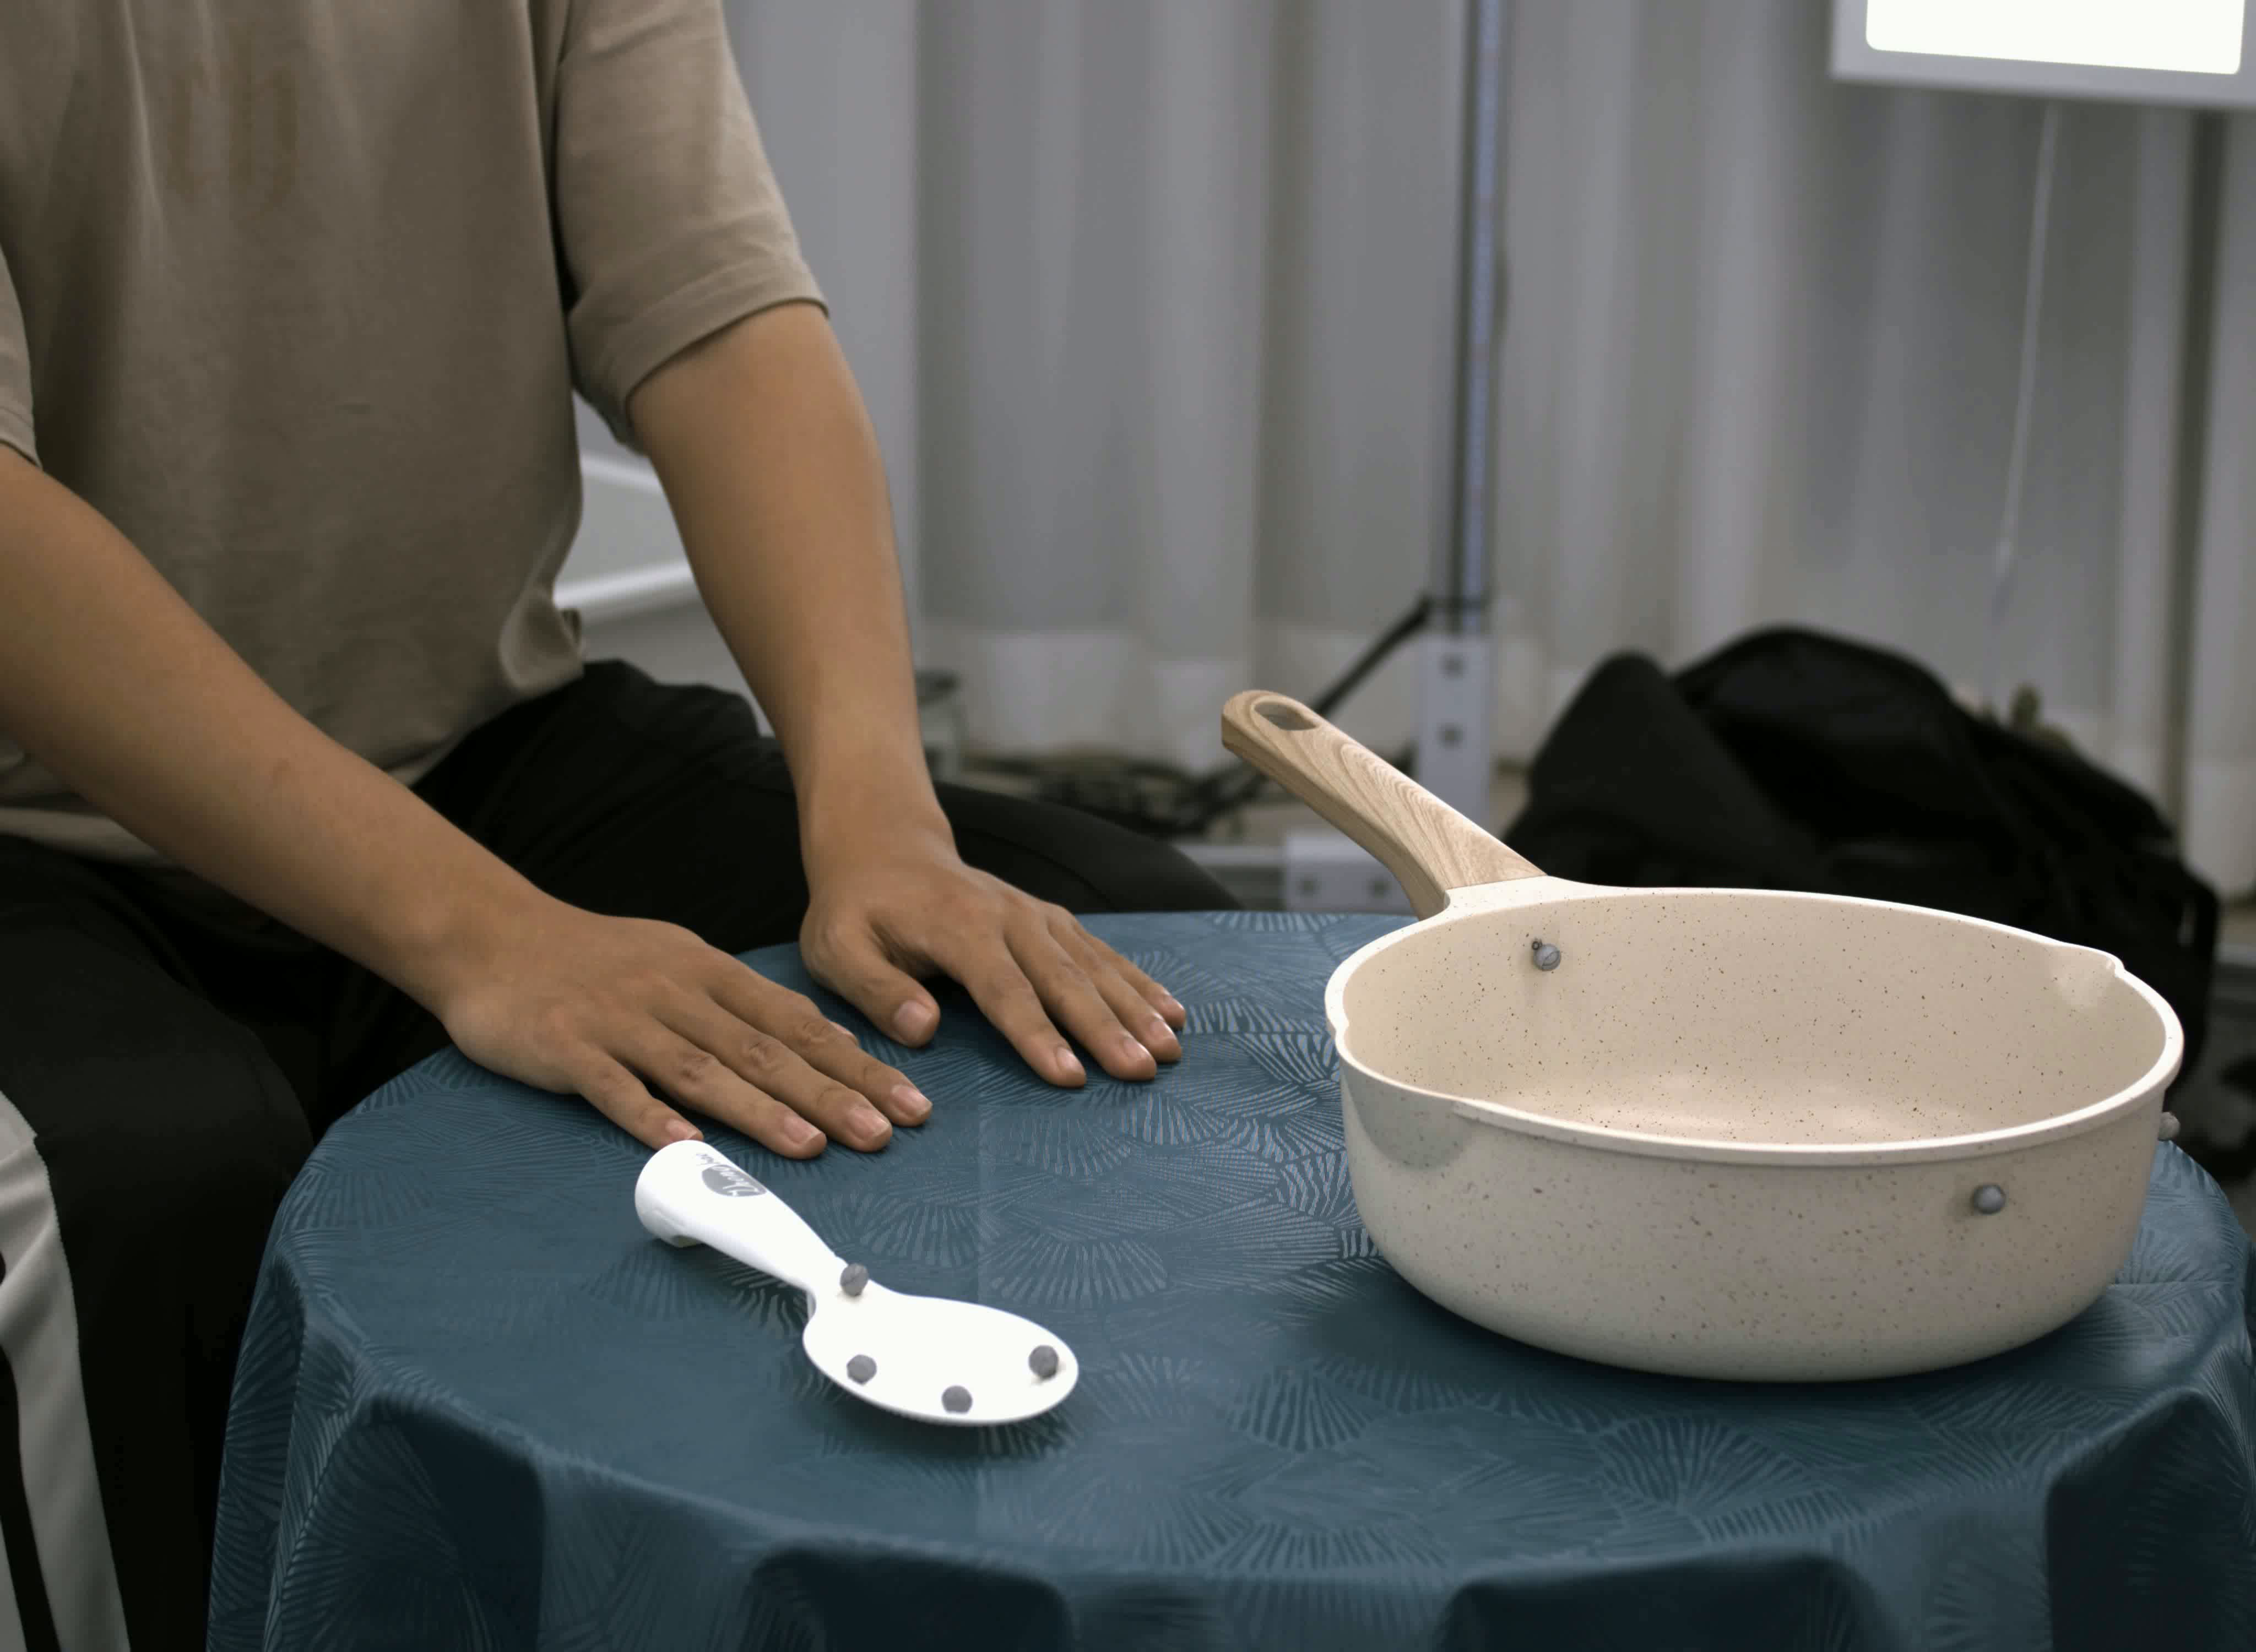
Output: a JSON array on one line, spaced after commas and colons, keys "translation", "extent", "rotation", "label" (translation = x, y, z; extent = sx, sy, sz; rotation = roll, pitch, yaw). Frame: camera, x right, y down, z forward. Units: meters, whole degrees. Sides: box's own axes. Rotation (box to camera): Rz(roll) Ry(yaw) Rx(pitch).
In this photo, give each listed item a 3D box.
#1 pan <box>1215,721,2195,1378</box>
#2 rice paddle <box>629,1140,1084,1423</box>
[{"translation": [0.144, 0.063, 1.636], "extent": [0.264, 0.103, 0.429], "rotation": [-10, 18, -27], "label": "pan"}, {"translation": [-0.081, 0.131, 1.496], "extent": [0.069, 0.029, 0.202], "rotation": [-11, 20, -31], "label": "rice paddle"}]
